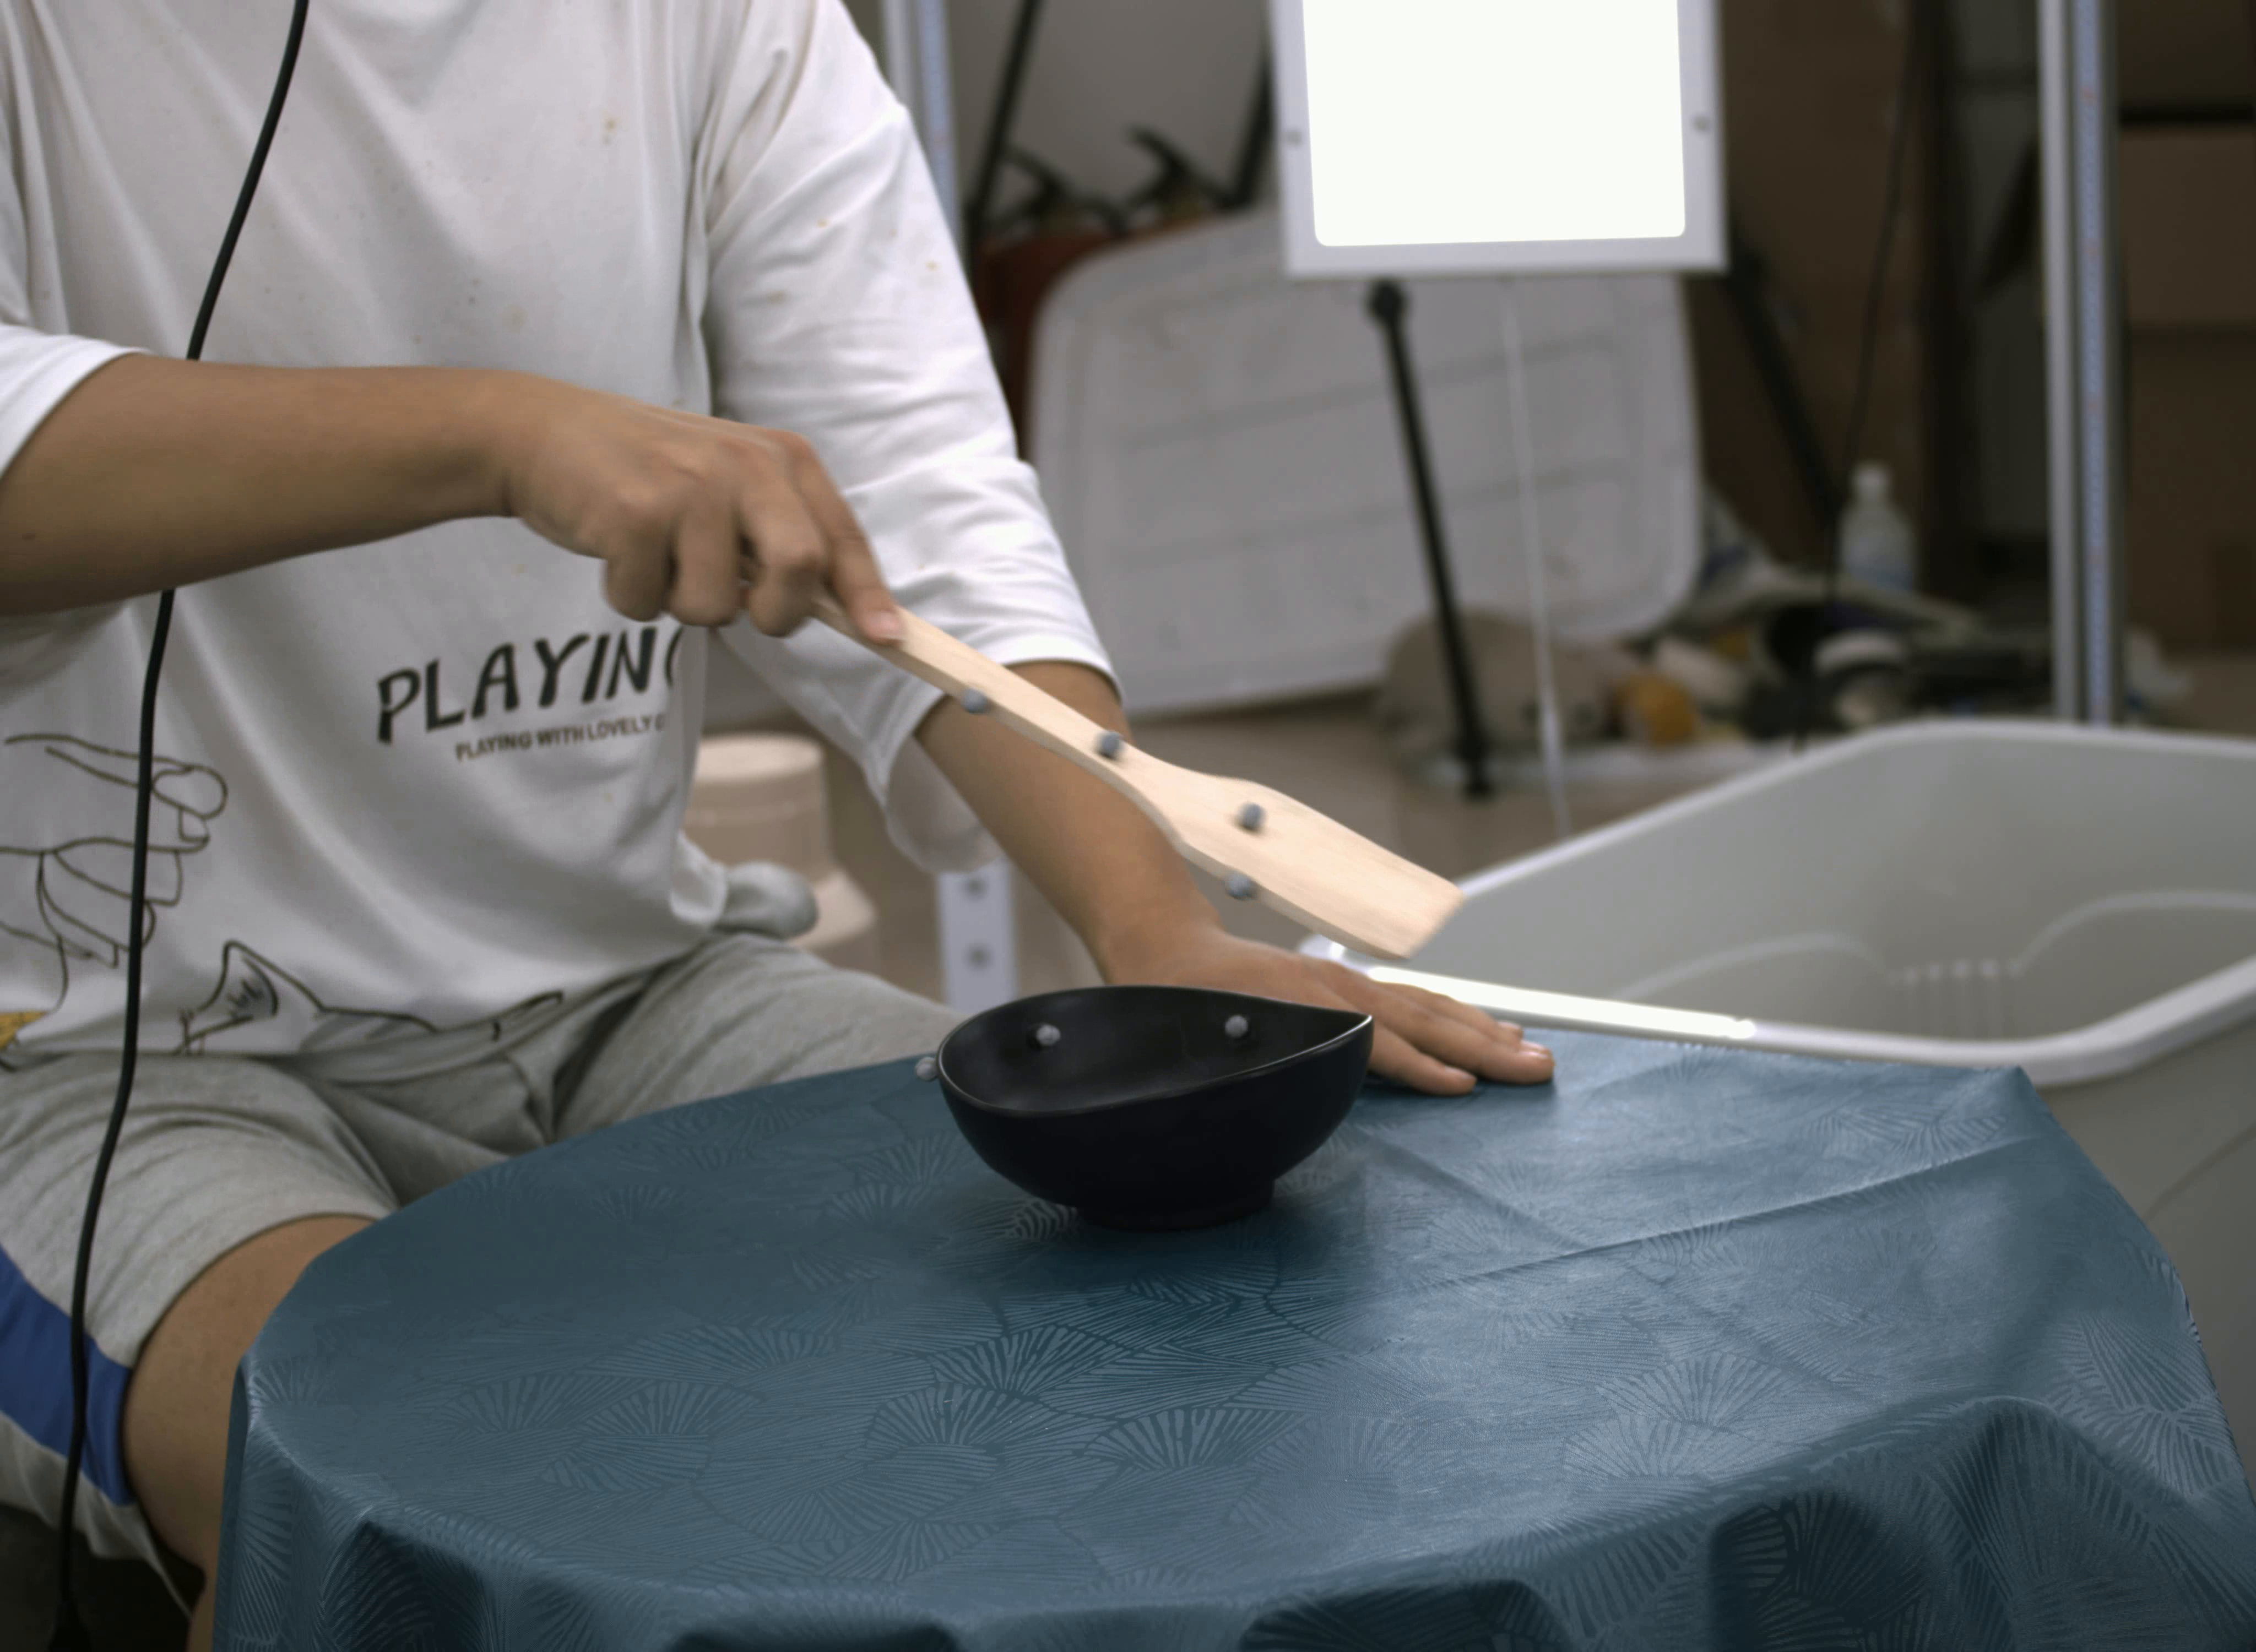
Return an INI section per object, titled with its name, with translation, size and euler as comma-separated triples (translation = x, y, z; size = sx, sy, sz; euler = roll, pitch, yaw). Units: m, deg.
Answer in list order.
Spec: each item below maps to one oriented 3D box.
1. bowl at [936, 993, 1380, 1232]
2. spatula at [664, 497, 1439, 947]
[bowl]
translation = 0.013, 0.099, 1.877
size = 0.140, 0.067, 0.166
euler = 8, 17, 40
[spatula]
translation = -0.031, -0.038, 1.853
size = 0.295, 0.011, 0.071
euler = 29, 27, 13
